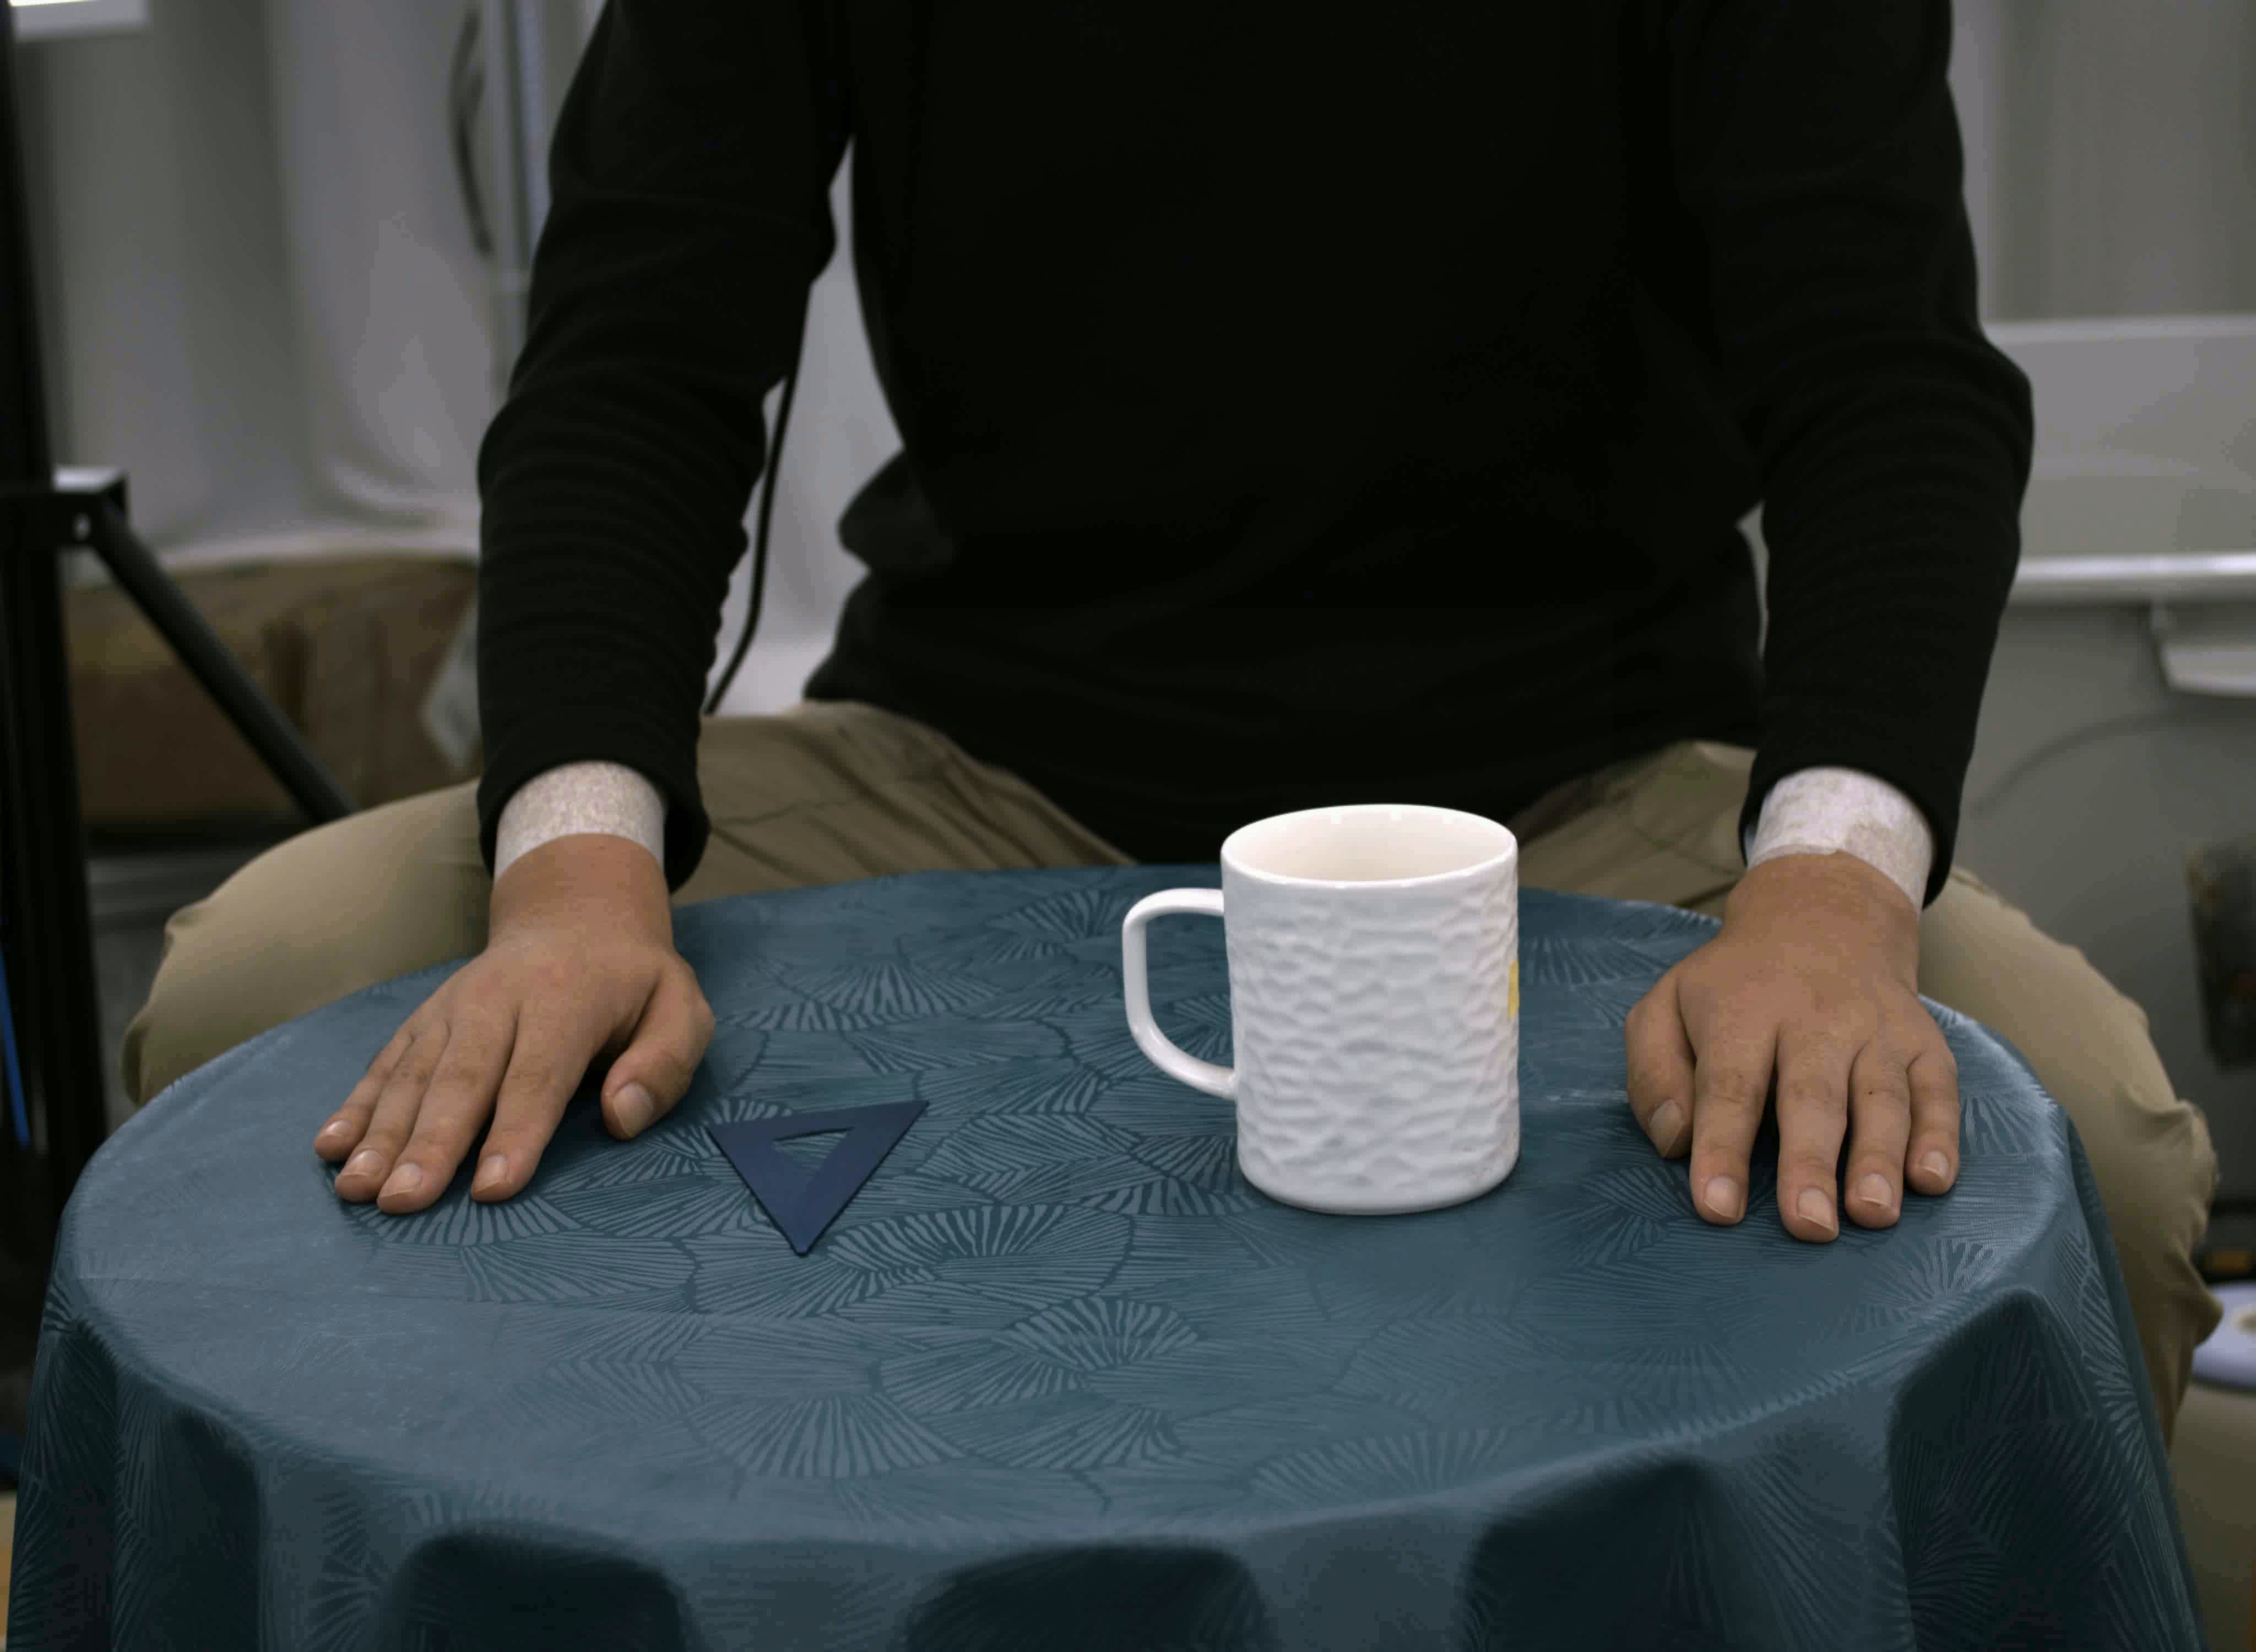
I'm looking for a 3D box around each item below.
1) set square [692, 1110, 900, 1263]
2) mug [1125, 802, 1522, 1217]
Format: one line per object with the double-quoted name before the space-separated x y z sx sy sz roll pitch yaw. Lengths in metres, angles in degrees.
"set square" -0.114 0.104 1.583 0.062 0.006 0.130 4 17 17
"mug" 0.057 0.053 1.555 0.119 0.102 0.084 2 16 16
